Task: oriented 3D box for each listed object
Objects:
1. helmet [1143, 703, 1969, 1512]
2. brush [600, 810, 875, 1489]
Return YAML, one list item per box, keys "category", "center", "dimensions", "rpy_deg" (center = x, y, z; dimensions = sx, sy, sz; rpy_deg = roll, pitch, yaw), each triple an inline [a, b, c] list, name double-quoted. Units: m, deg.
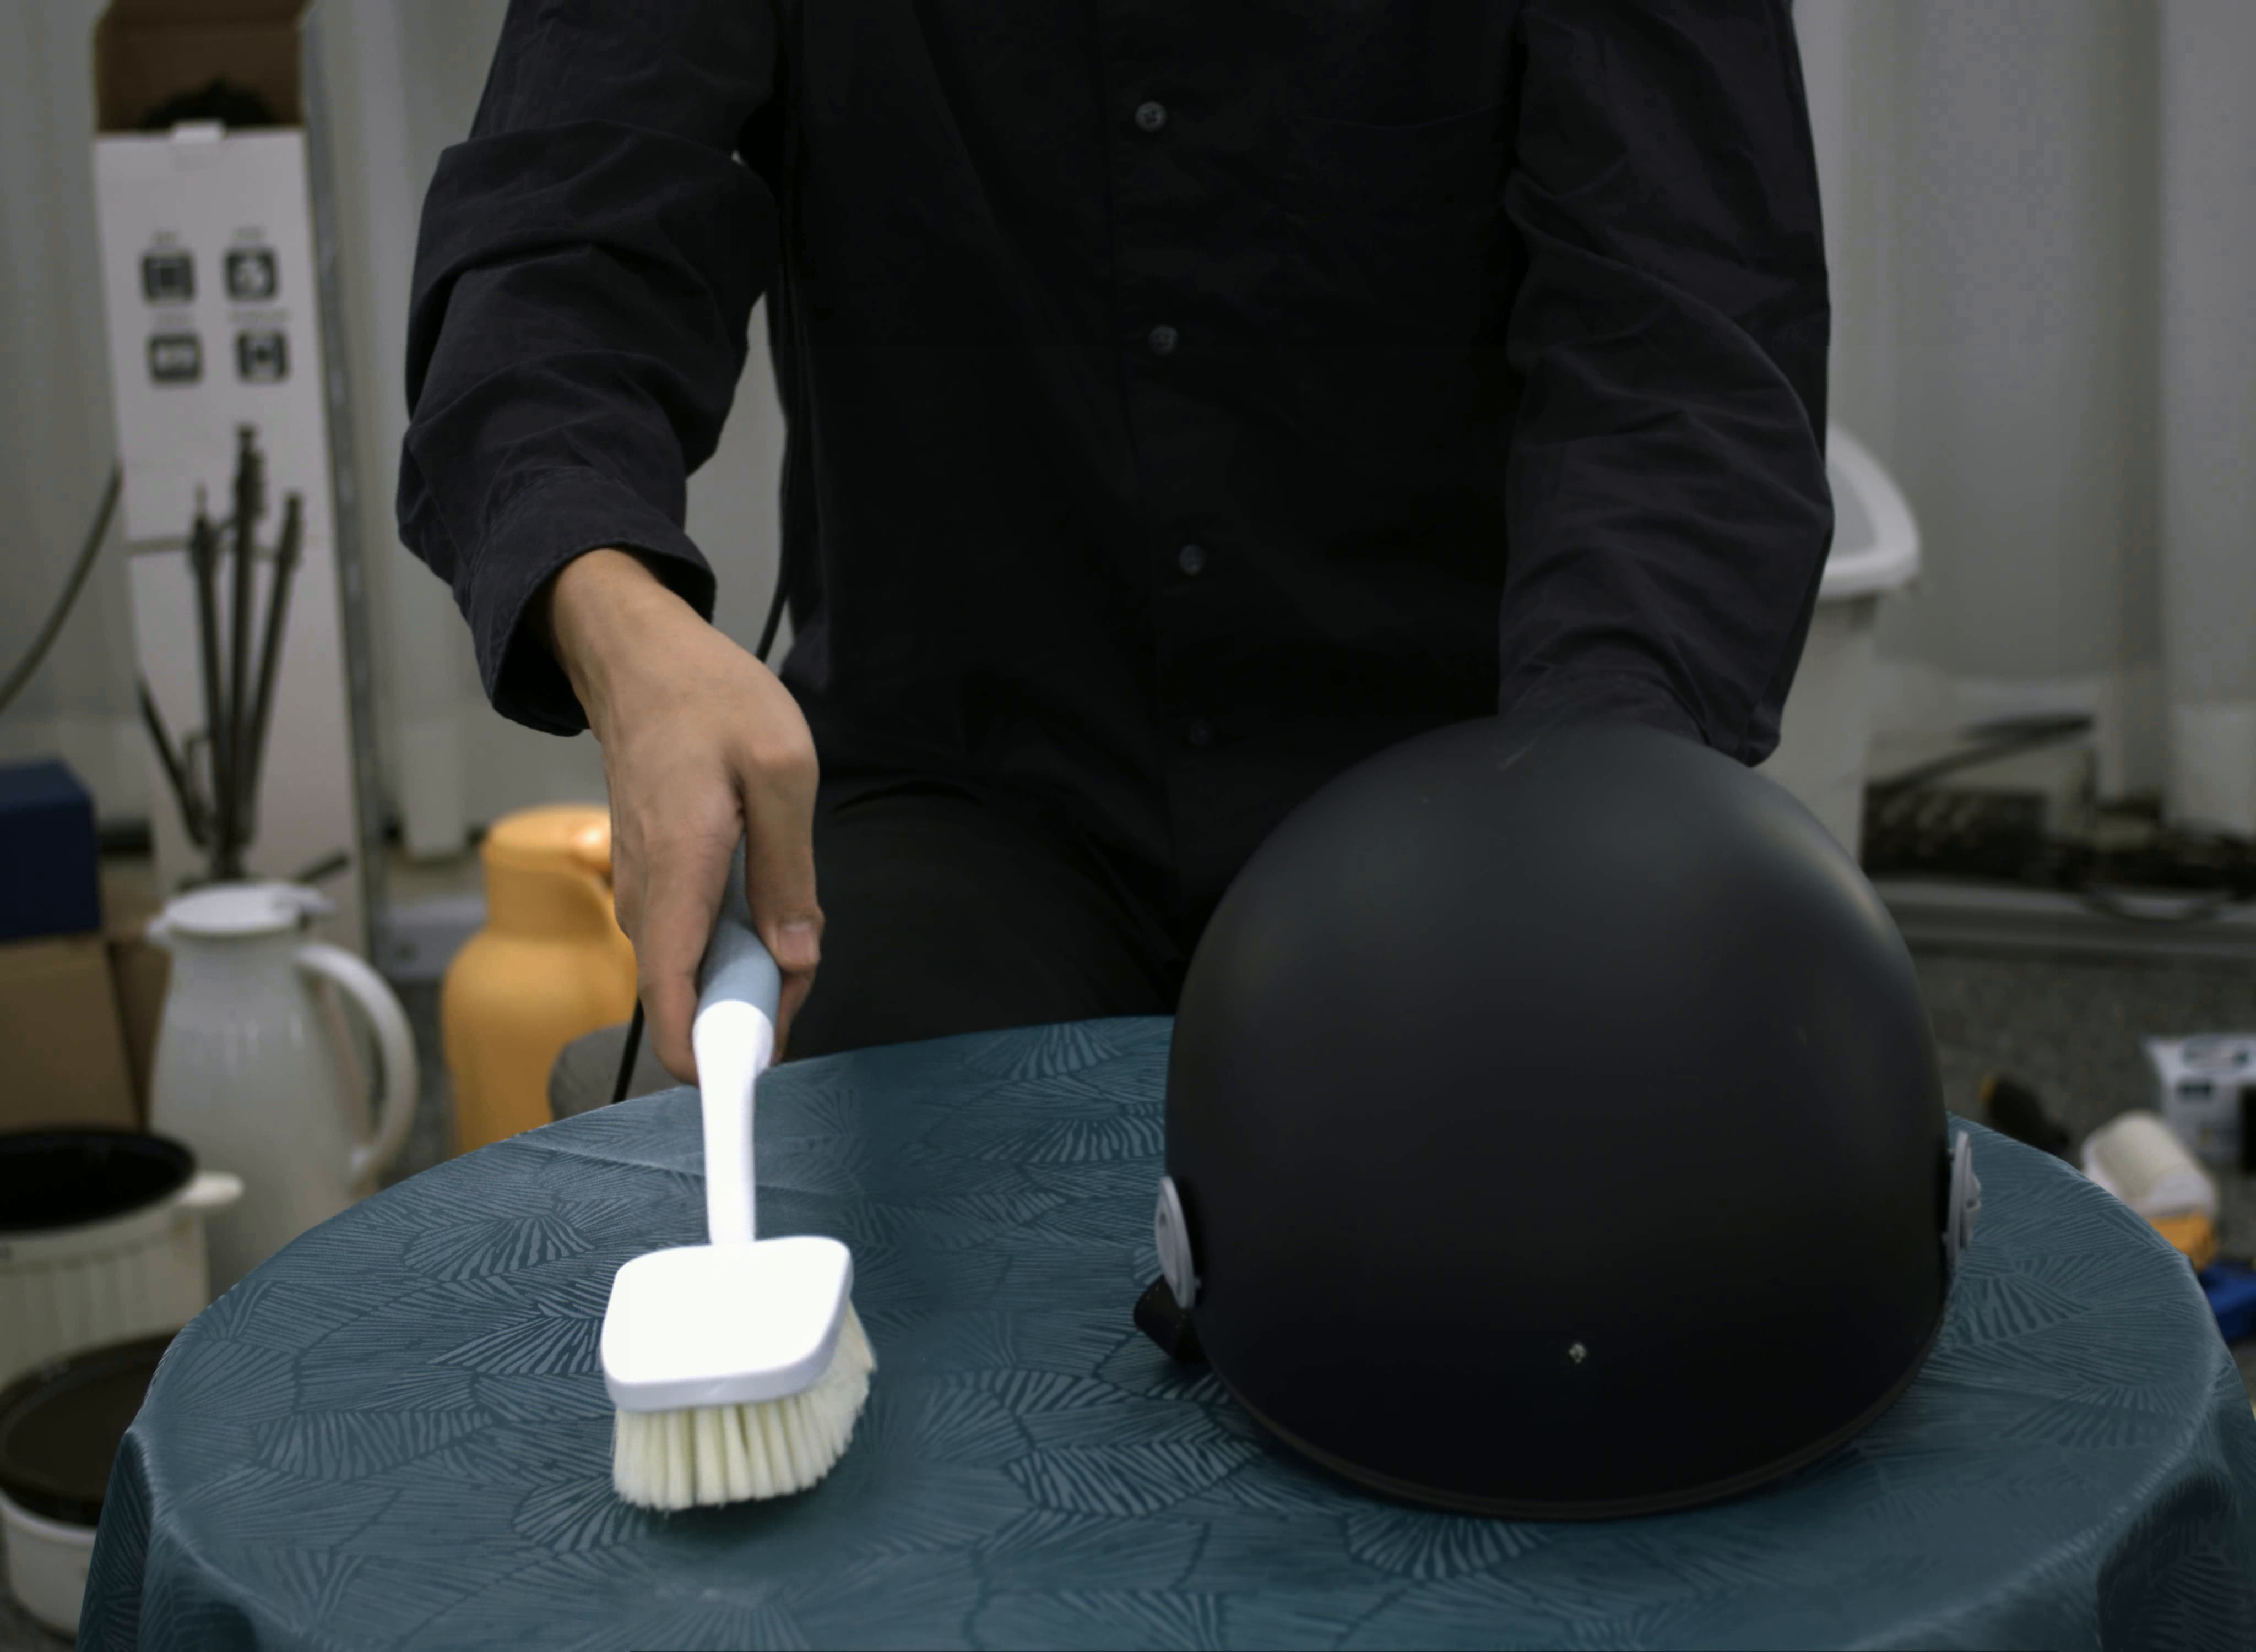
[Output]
- category: "helmet"
  center: [0.117, 0.060, 1.537]
  dimensions: [0.229, 0.165, 0.276]
  rpy_deg: [-4, 24, 4]
- category: "brush"
  center: [-0.106, 0.105, 1.607]
  dimensions: [0.082, 0.084, 0.329]
  rpy_deg: [28, 24, -13]
